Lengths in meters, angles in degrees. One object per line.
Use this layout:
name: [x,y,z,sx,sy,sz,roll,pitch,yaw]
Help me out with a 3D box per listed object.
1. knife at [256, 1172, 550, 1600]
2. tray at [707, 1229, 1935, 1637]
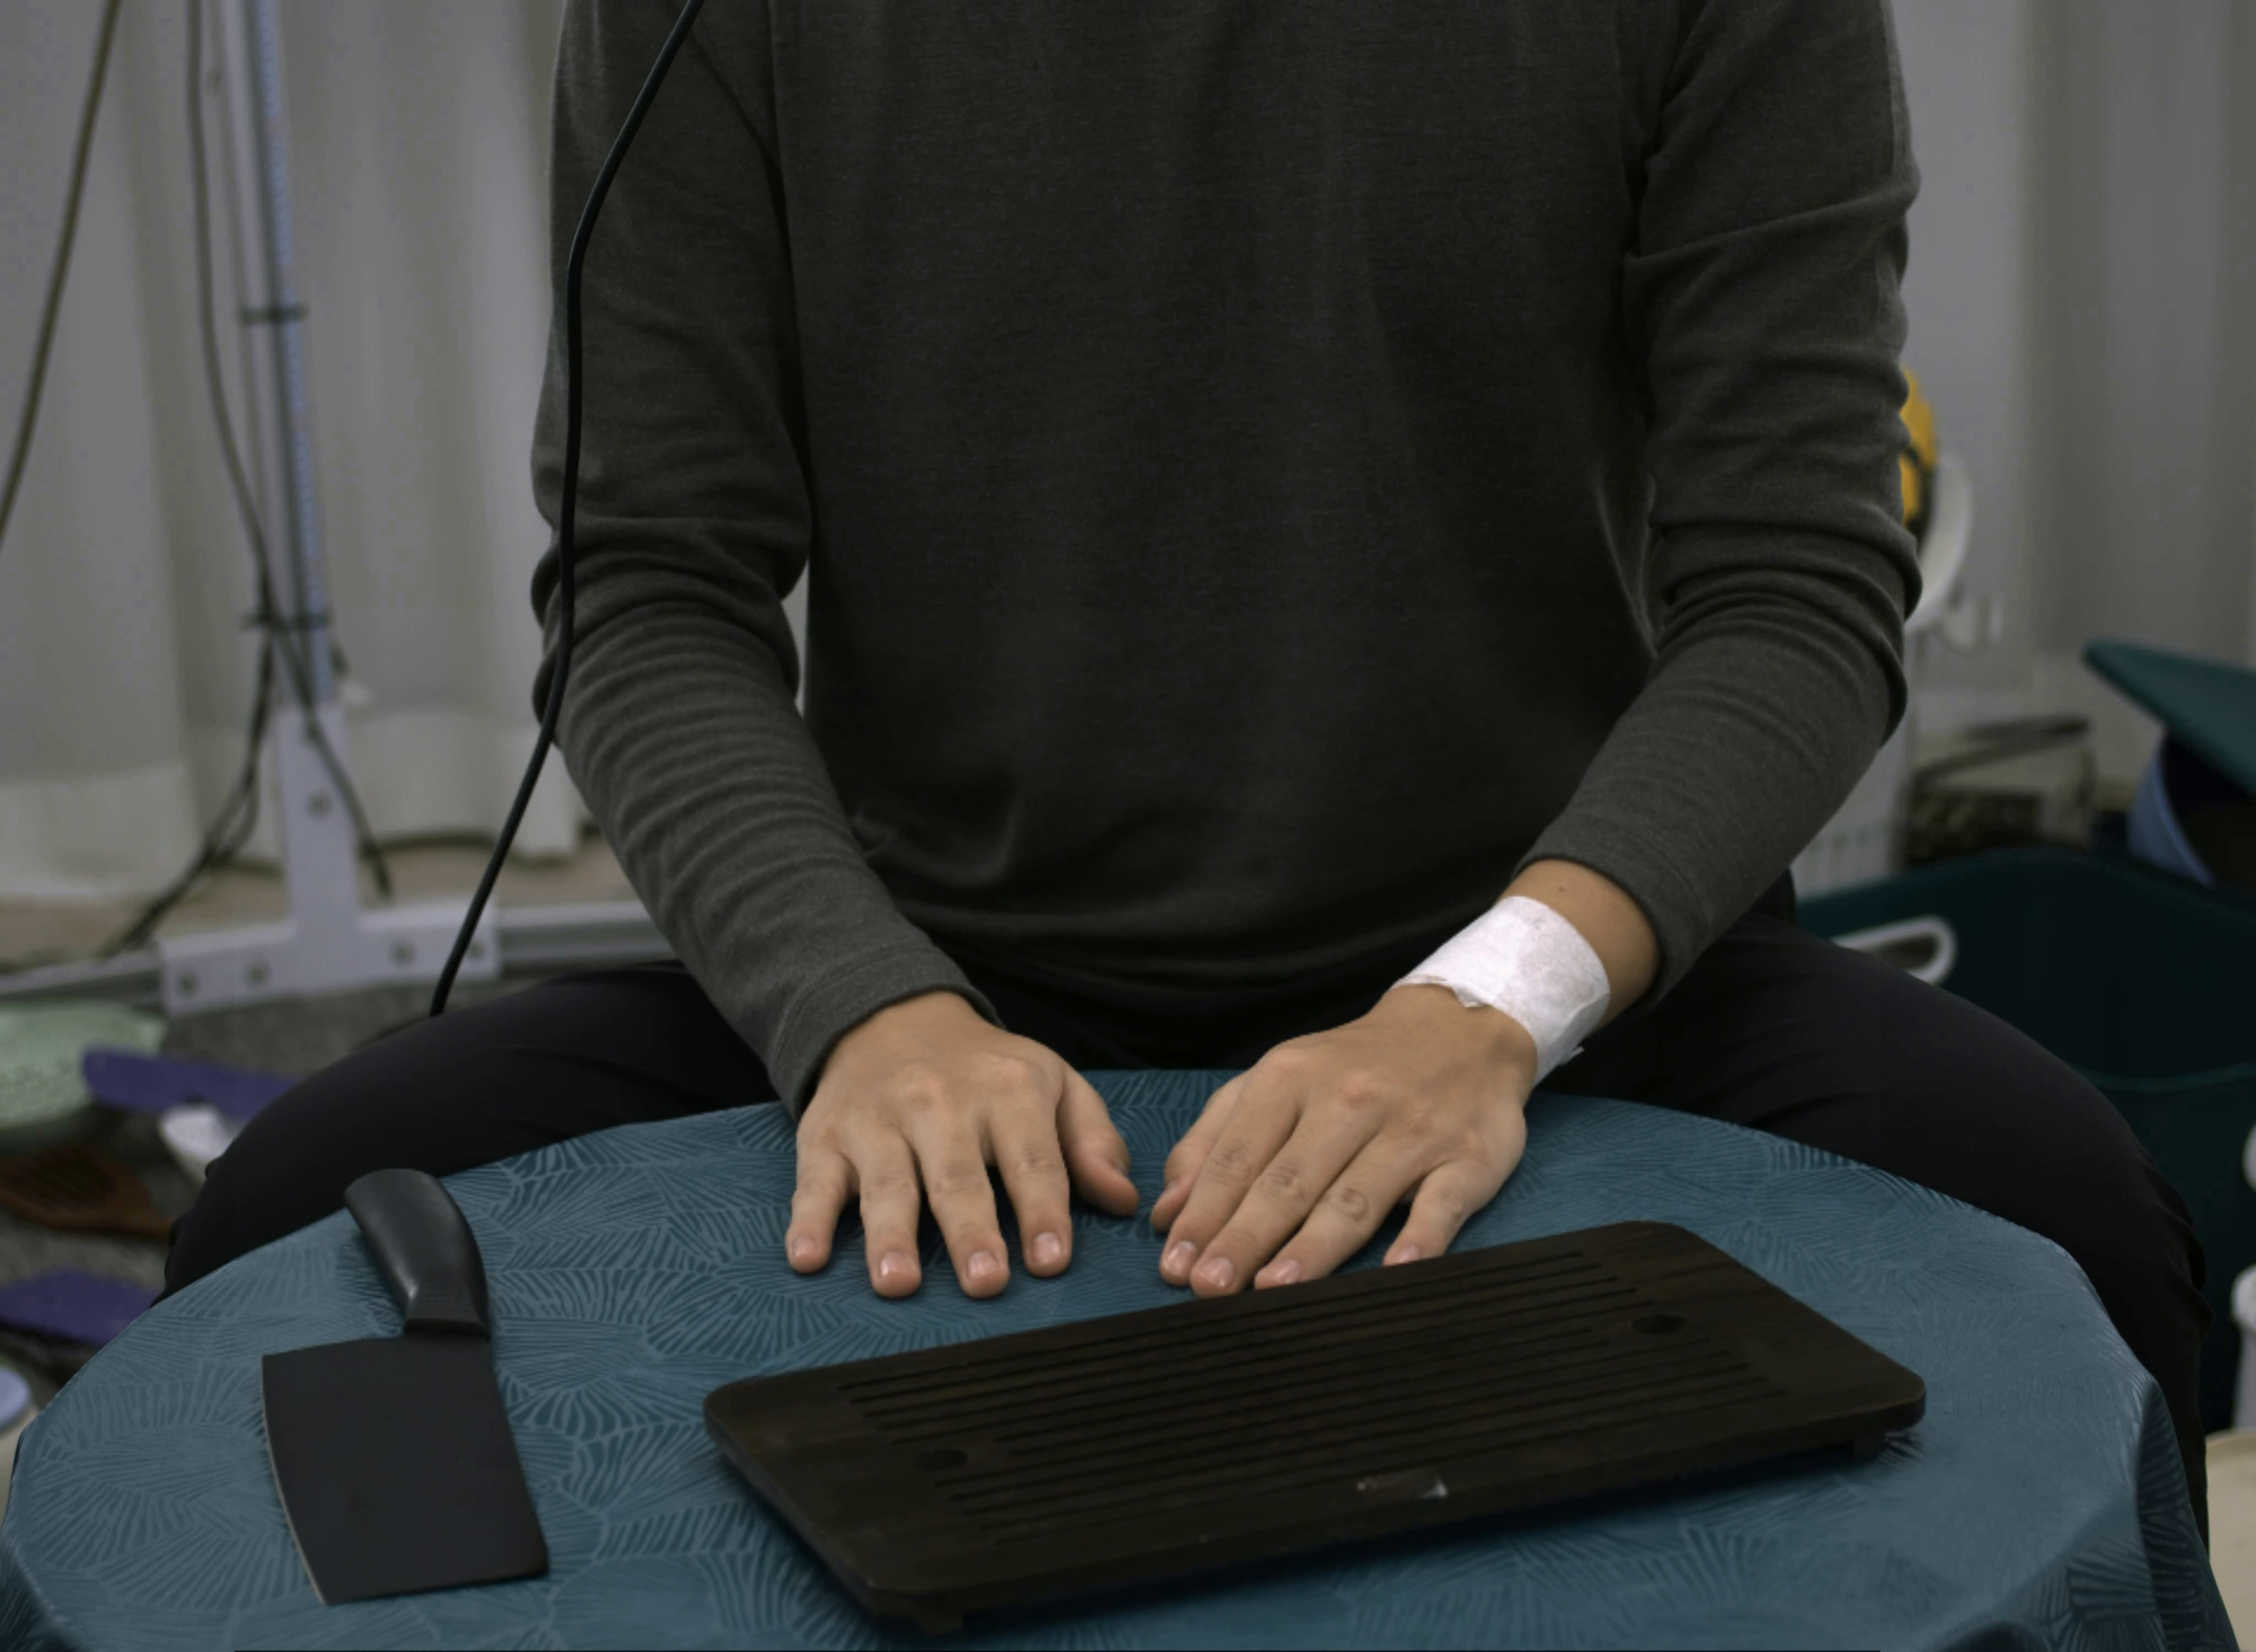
knife: [-0.210,0.158,1.568,0.080,0.021,0.305,-6,17,-7]
tray: [0.051,0.163,1.490,0.304,0.018,0.171,-8,15,-20]
